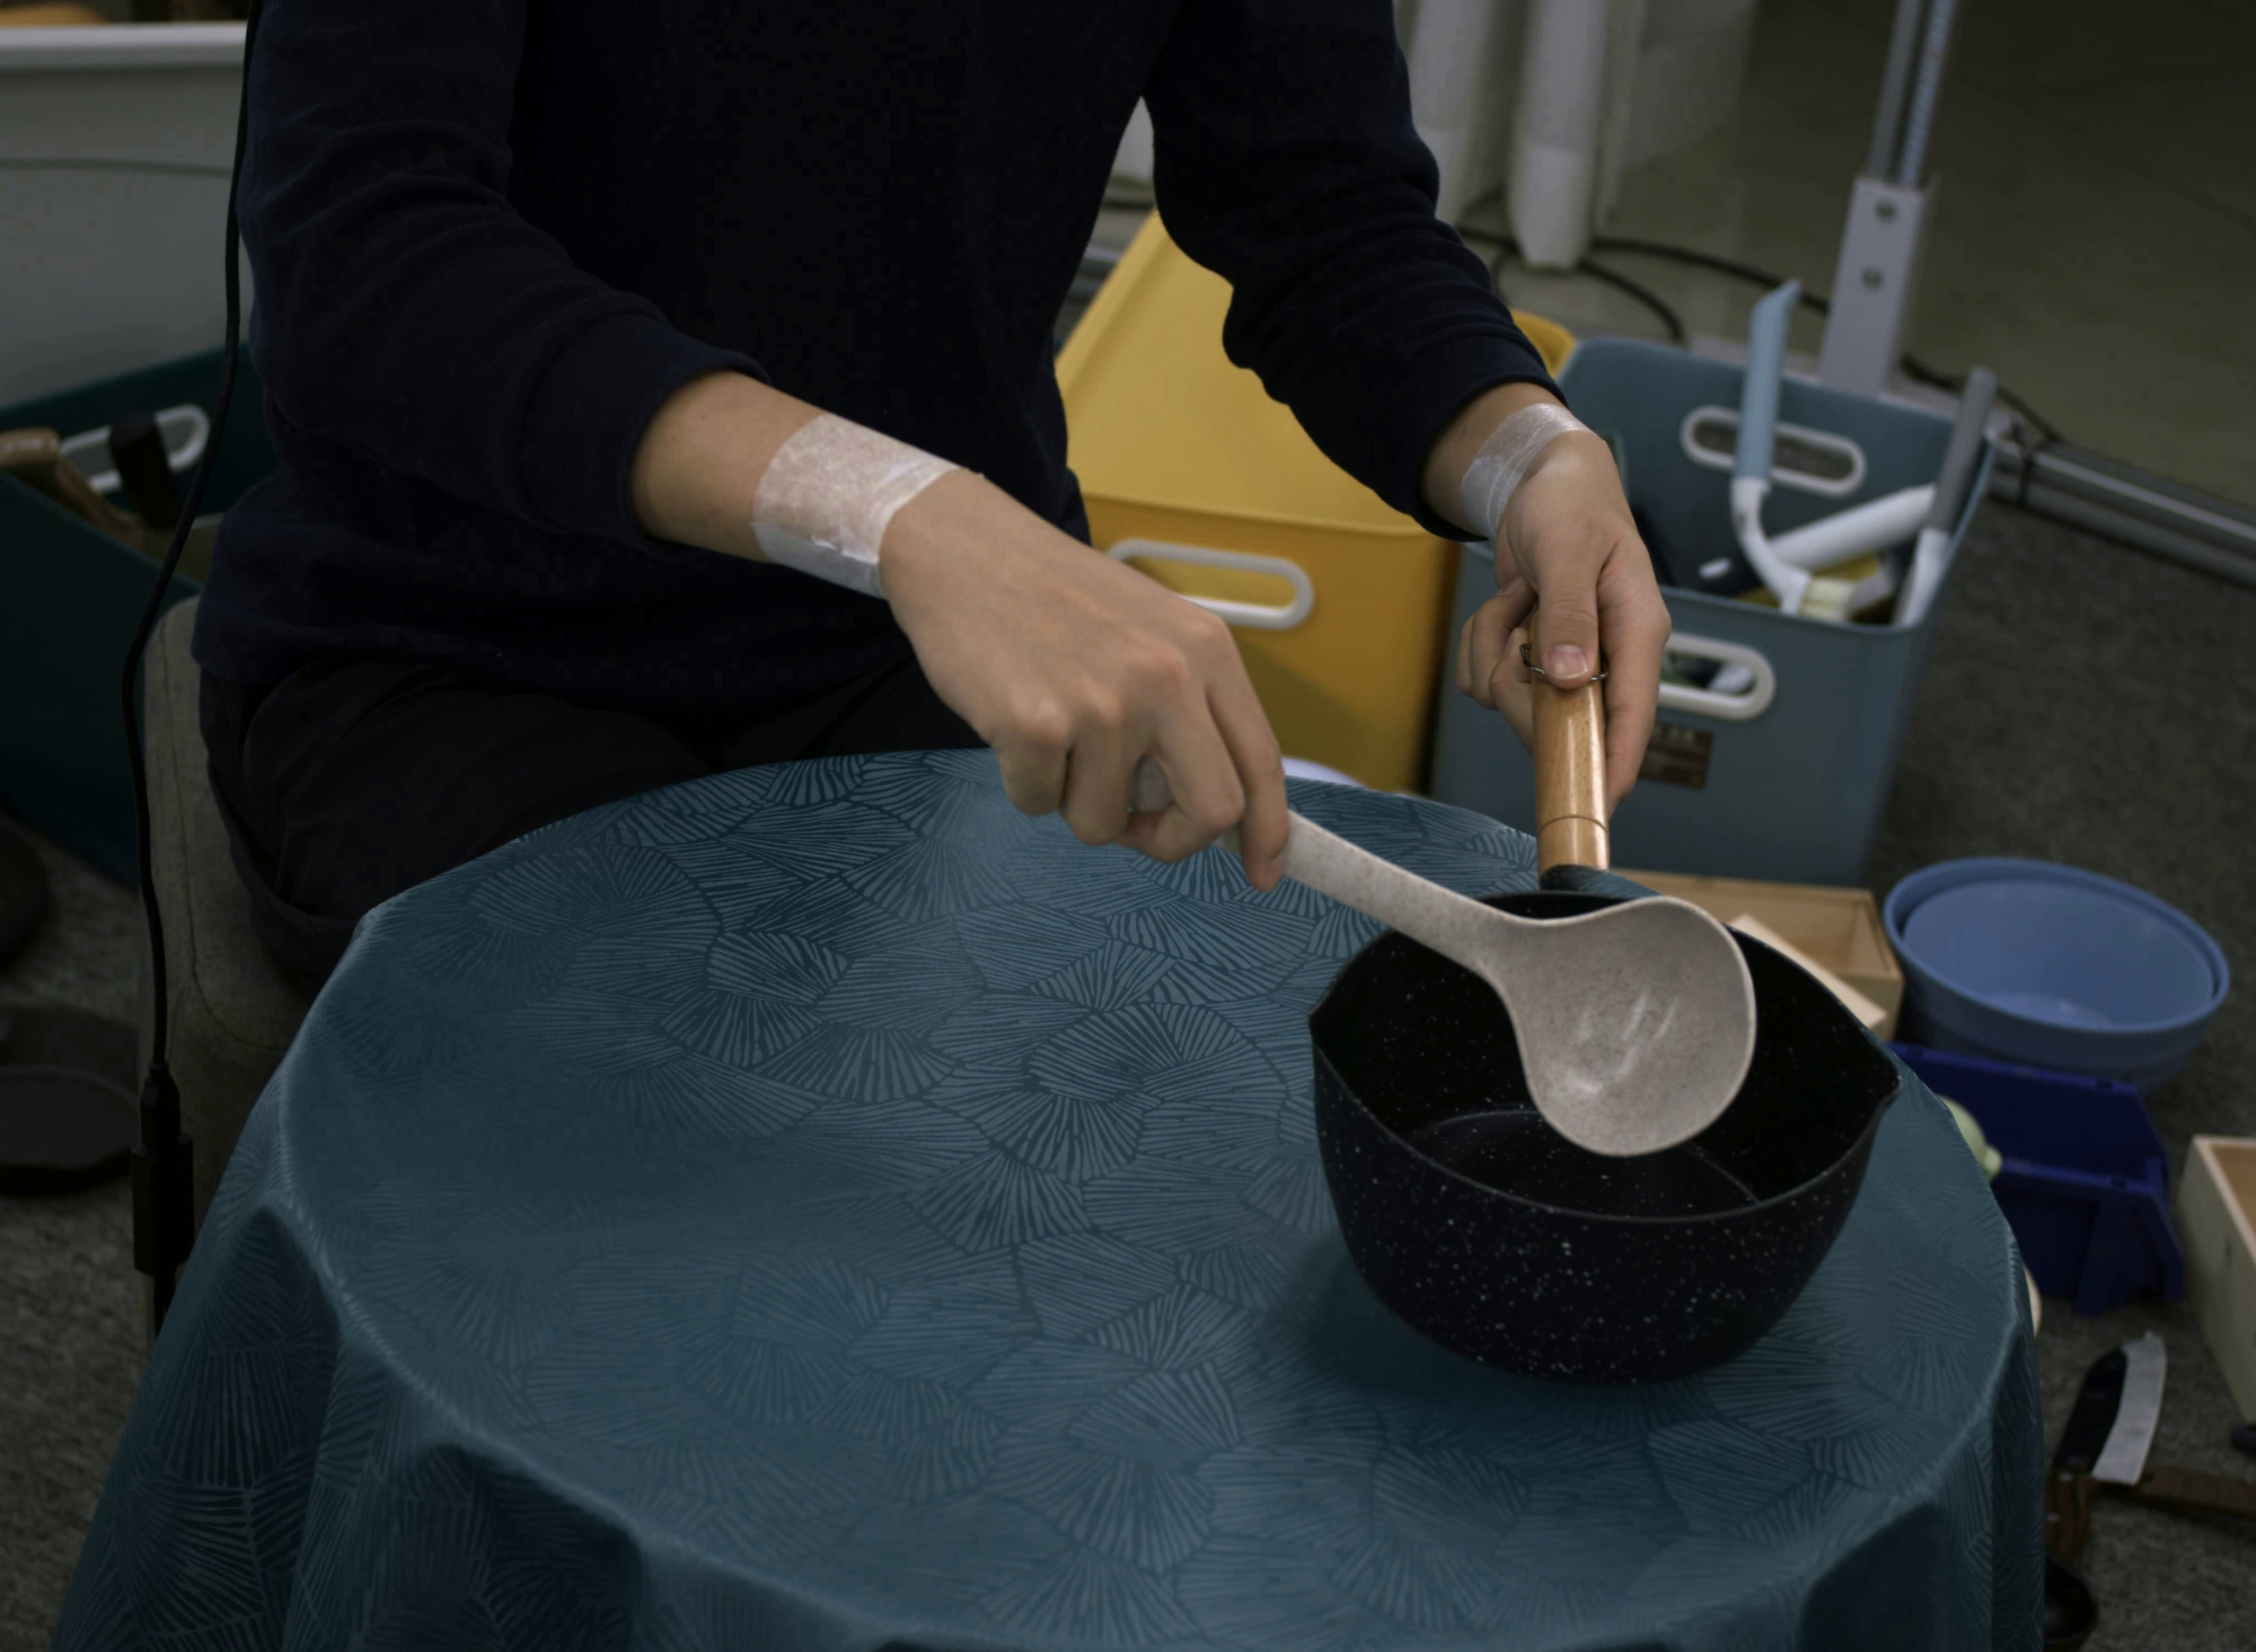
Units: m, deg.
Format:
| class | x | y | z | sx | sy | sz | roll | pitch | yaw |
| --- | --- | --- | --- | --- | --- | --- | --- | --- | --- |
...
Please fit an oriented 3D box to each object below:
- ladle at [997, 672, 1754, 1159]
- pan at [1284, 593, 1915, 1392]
| class | x | y | z | sx | sy | sz | roll | pitch | yaw |
| --- | --- | --- | --- | --- | --- | --- | --- | --- | --- |
| ladle | 0.080 | 0.024 | 1.706 | 0.272 | 0.089 | 0.070 | 26 | 17 | -25 |
| pan | 0.152 | 0.054 | 1.822 | 0.207 | 0.108 | 0.345 | 3 | 34 | -2 |
